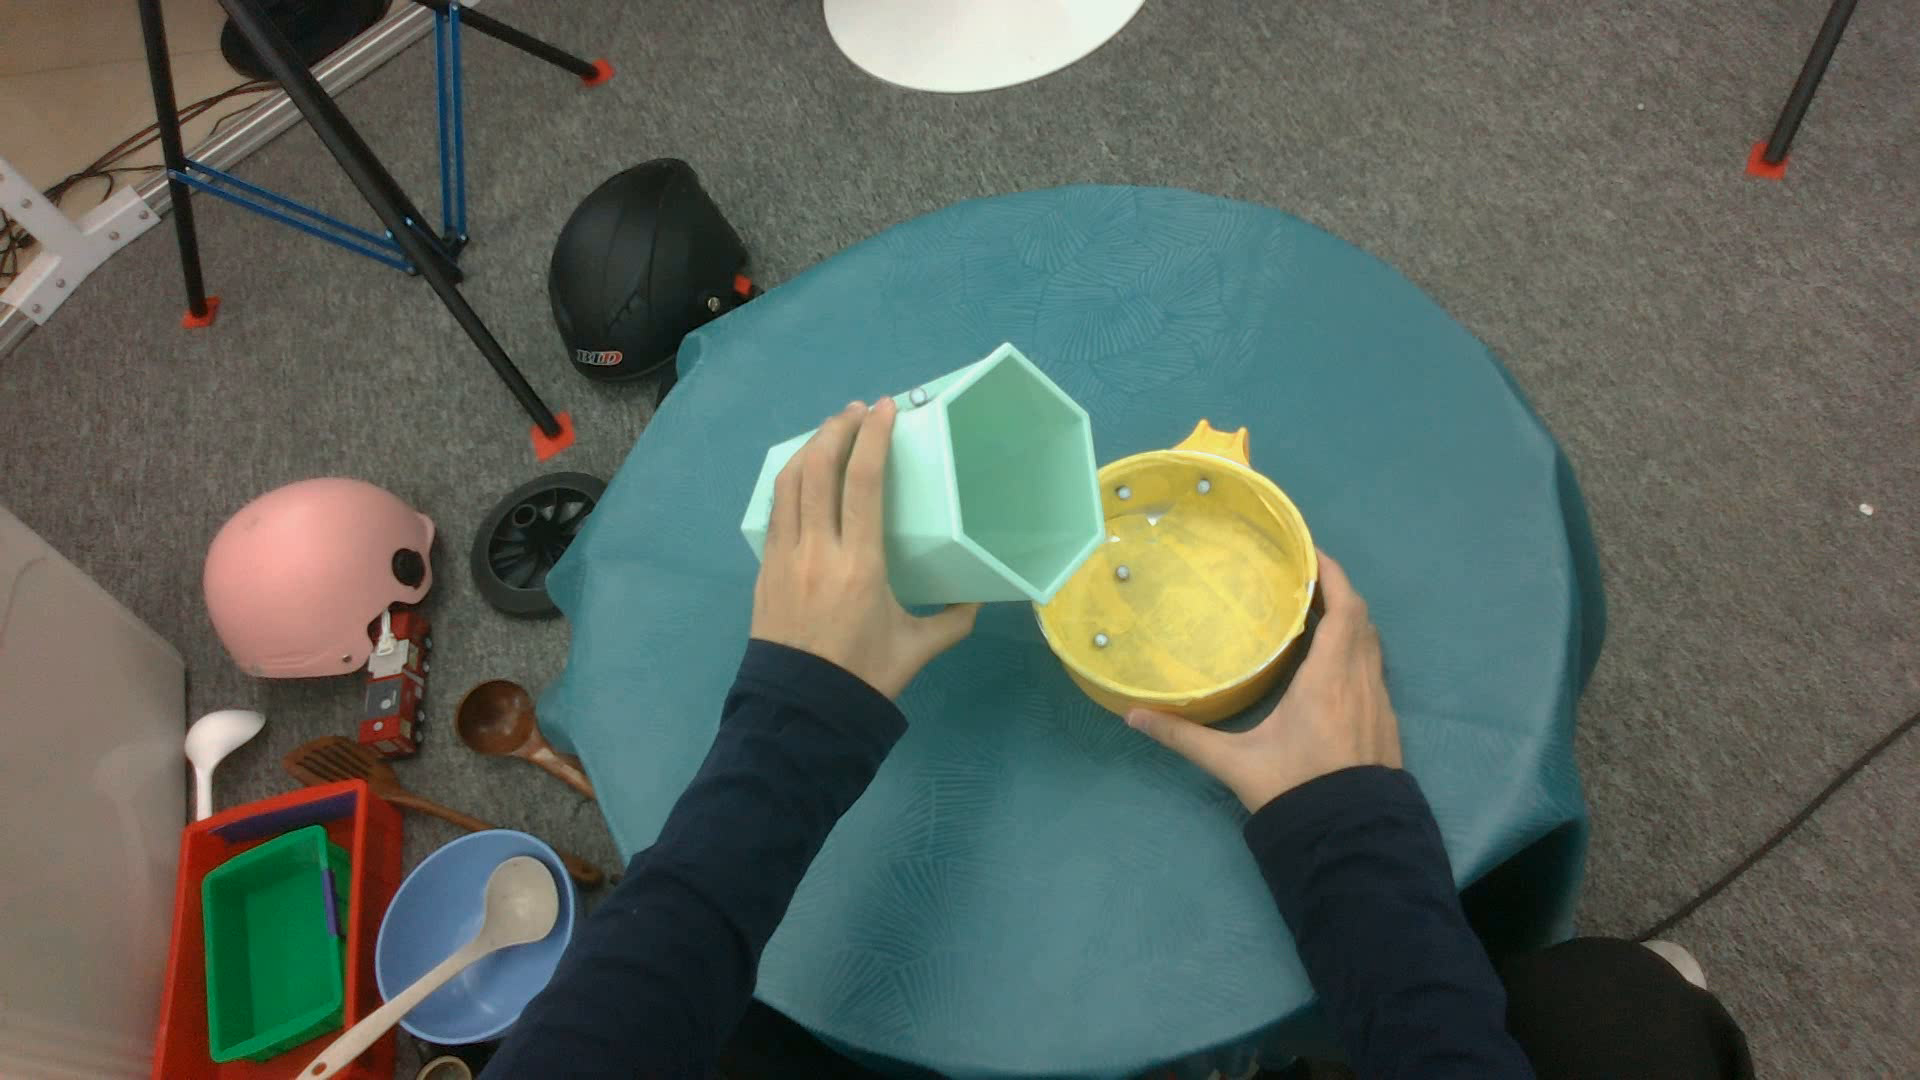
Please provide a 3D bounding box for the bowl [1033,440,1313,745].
[{"bbox_3d":[0.125,0.030,0.783,0.153,0.074,0.180,9,64,19],"label":"bowl"}]

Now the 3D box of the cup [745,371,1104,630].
[{"bbox_3d":[-0.025,-0.009,0.734,0.162,0.131,0.115,-12,54,42],"label":"cup"}]
